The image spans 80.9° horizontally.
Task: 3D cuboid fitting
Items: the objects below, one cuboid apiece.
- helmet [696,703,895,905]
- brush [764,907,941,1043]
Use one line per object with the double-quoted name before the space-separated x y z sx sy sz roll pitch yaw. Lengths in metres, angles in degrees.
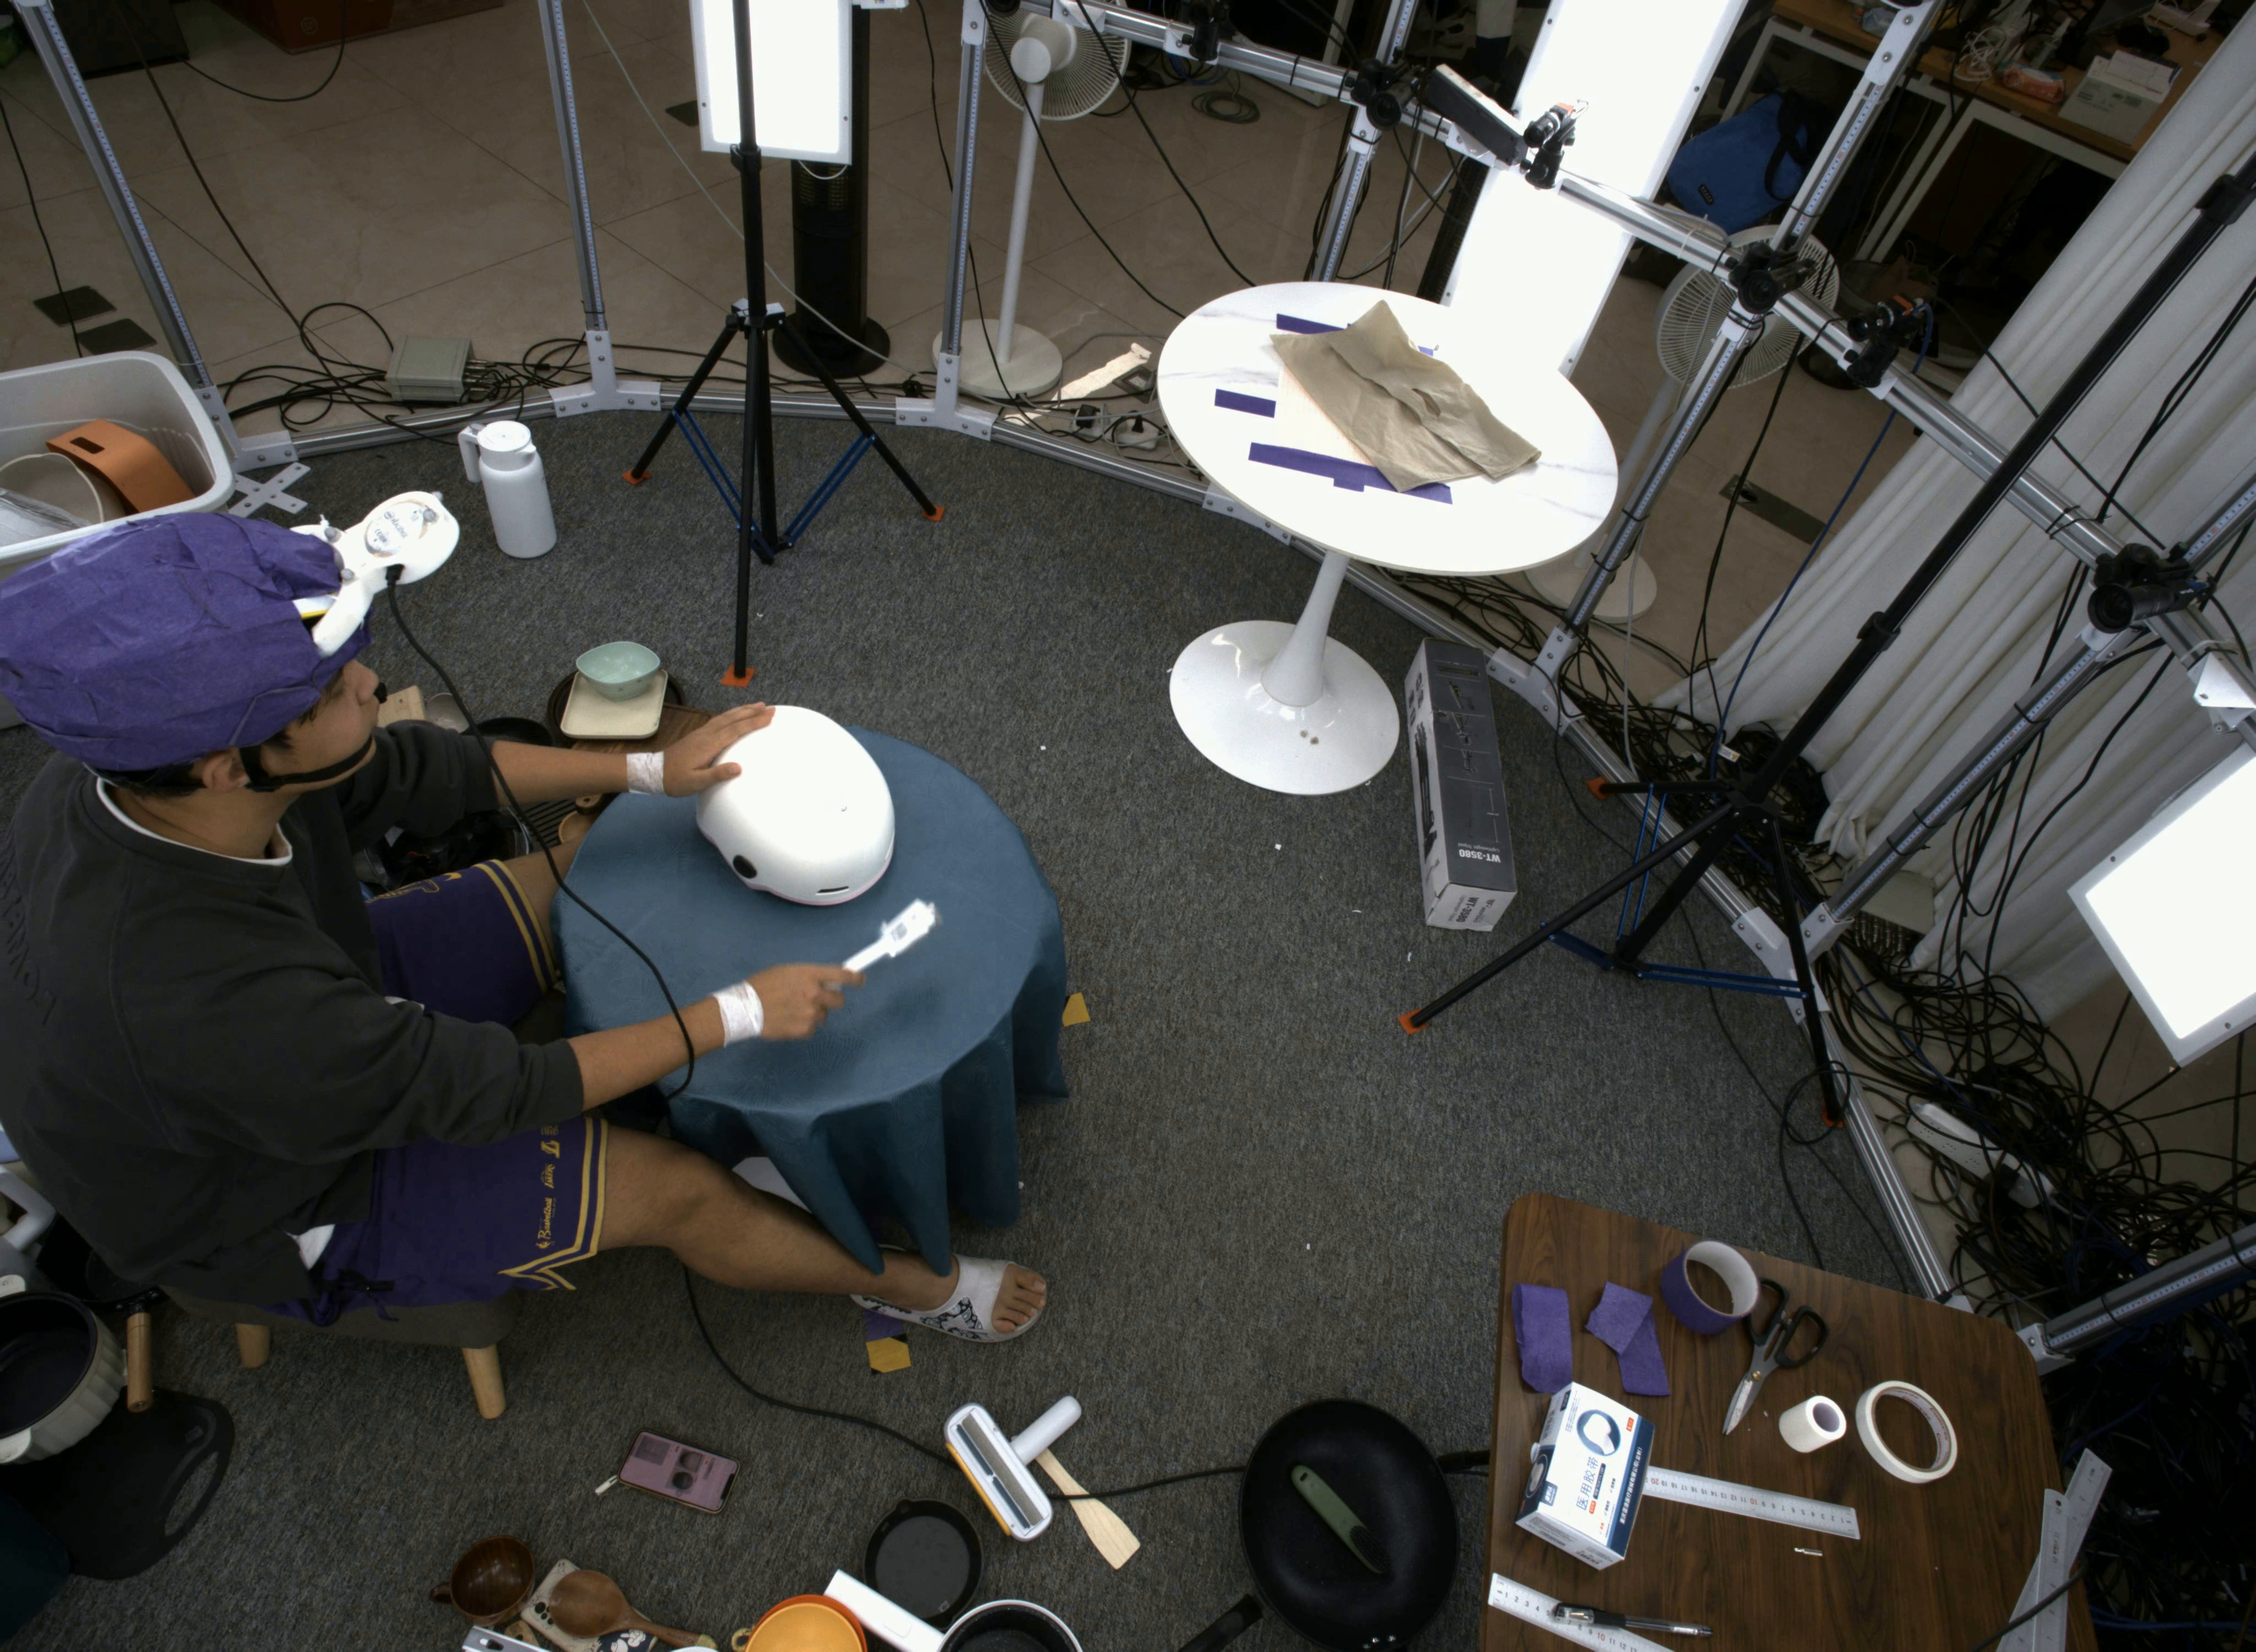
"helmet" -0.424 -0.048 1.659 0.263 0.170 0.237 37 54 15
"brush" -0.324 0.178 1.537 0.243 0.051 0.034 -39 73 -19
